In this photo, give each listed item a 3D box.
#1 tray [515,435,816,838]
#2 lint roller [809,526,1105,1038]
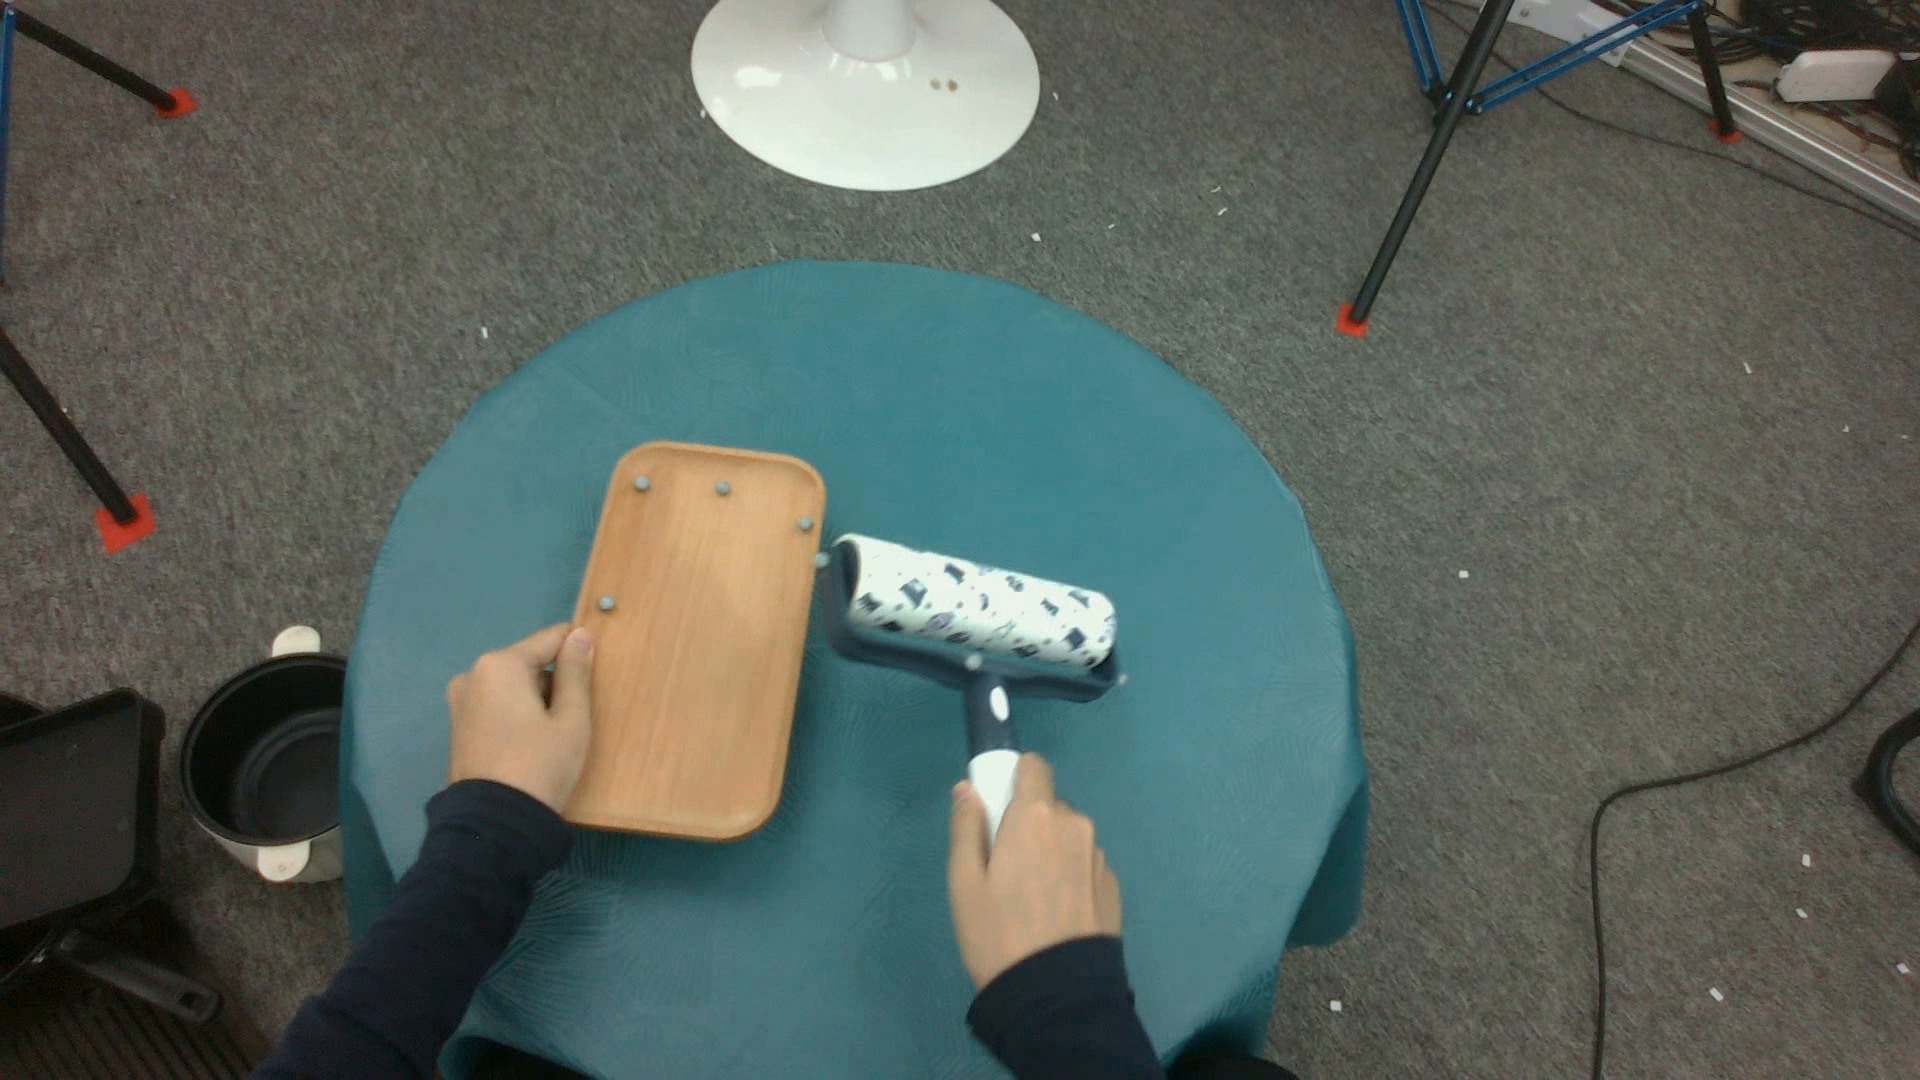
[{"bbox_3d":[-0.157,0.046,0.770,0.130,0.023,0.252,6,55,0],"label":"tray"},{"bbox_3d":[0.014,0.116,0.685,0.176,0.050,0.248,14,51,-33],"label":"lint roller"}]
